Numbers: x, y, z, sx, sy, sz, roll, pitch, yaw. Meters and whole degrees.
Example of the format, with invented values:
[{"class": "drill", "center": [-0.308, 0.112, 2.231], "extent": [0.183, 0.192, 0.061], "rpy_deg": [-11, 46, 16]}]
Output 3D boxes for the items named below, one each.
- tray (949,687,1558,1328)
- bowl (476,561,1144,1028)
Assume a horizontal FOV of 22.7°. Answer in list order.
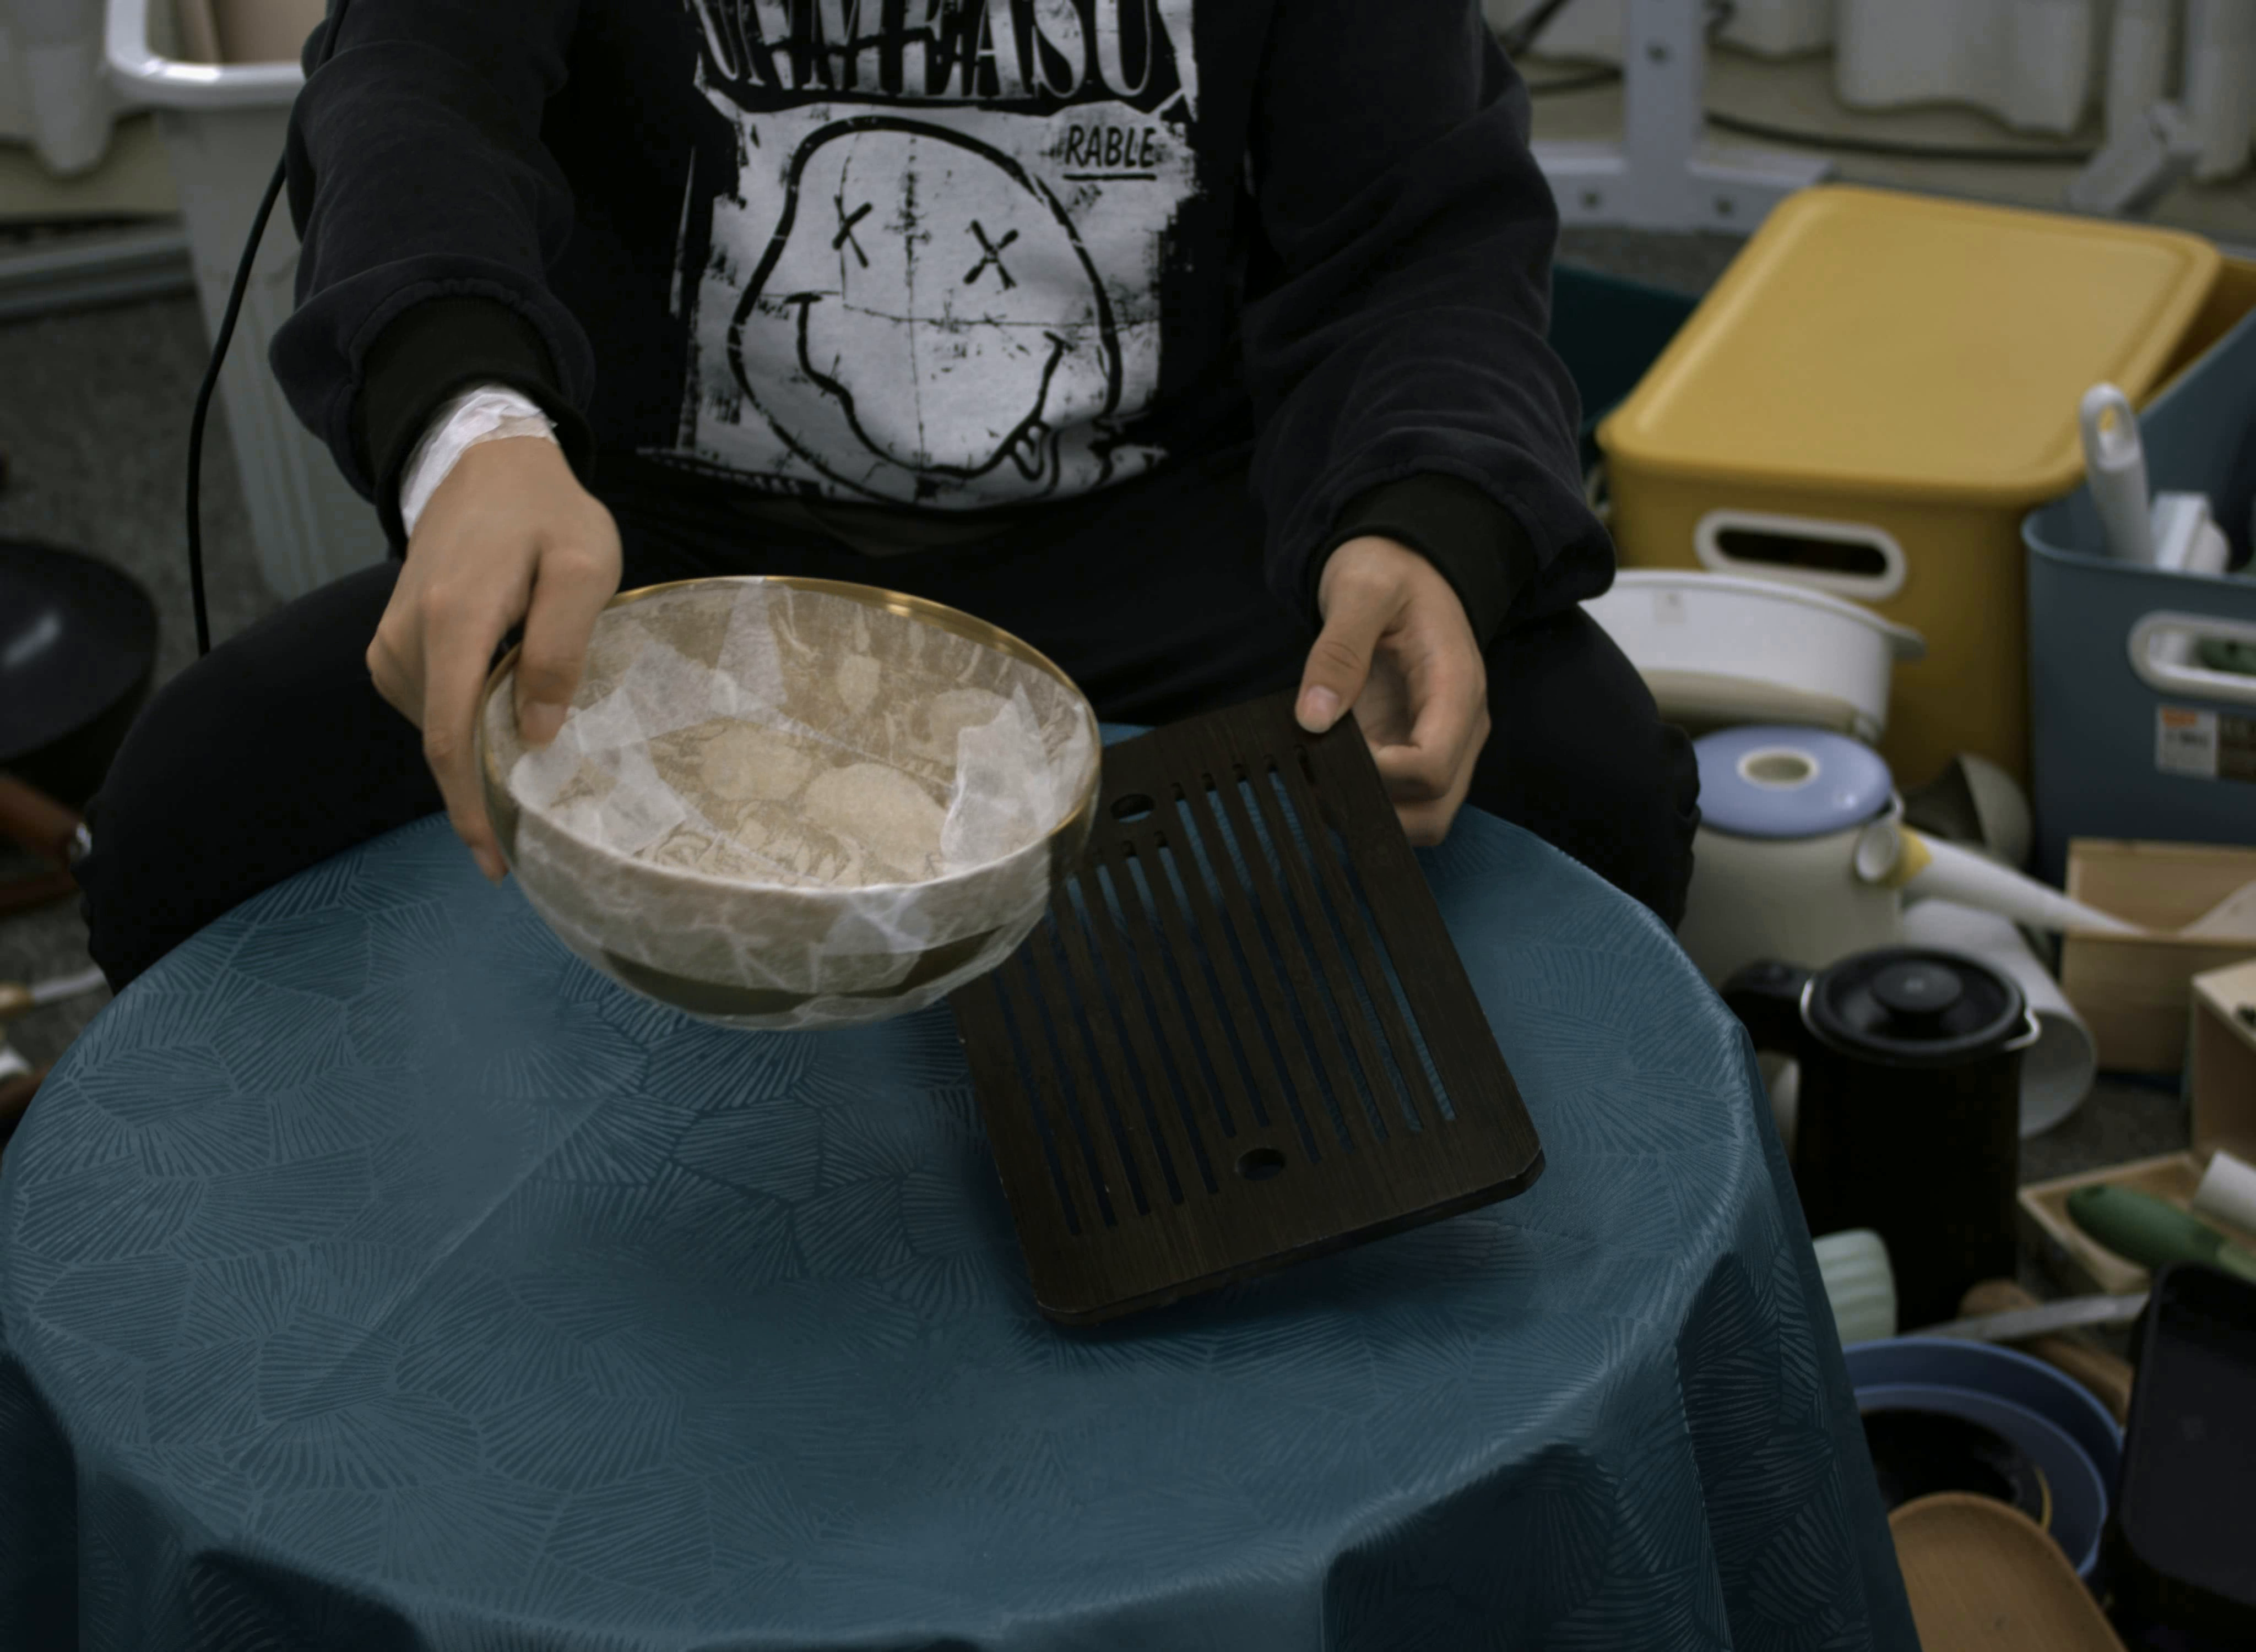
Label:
[{"class": "tray", "center": [0.029, 0.057, 1.905], "extent": [0.170, 0.018, 0.310], "rpy_deg": [-16, 34, -3]}, {"class": "bowl", "center": [-0.106, 0.002, 1.809], "extent": [0.214, 0.093, 0.218], "rpy_deg": [5, 29, -2]}]
